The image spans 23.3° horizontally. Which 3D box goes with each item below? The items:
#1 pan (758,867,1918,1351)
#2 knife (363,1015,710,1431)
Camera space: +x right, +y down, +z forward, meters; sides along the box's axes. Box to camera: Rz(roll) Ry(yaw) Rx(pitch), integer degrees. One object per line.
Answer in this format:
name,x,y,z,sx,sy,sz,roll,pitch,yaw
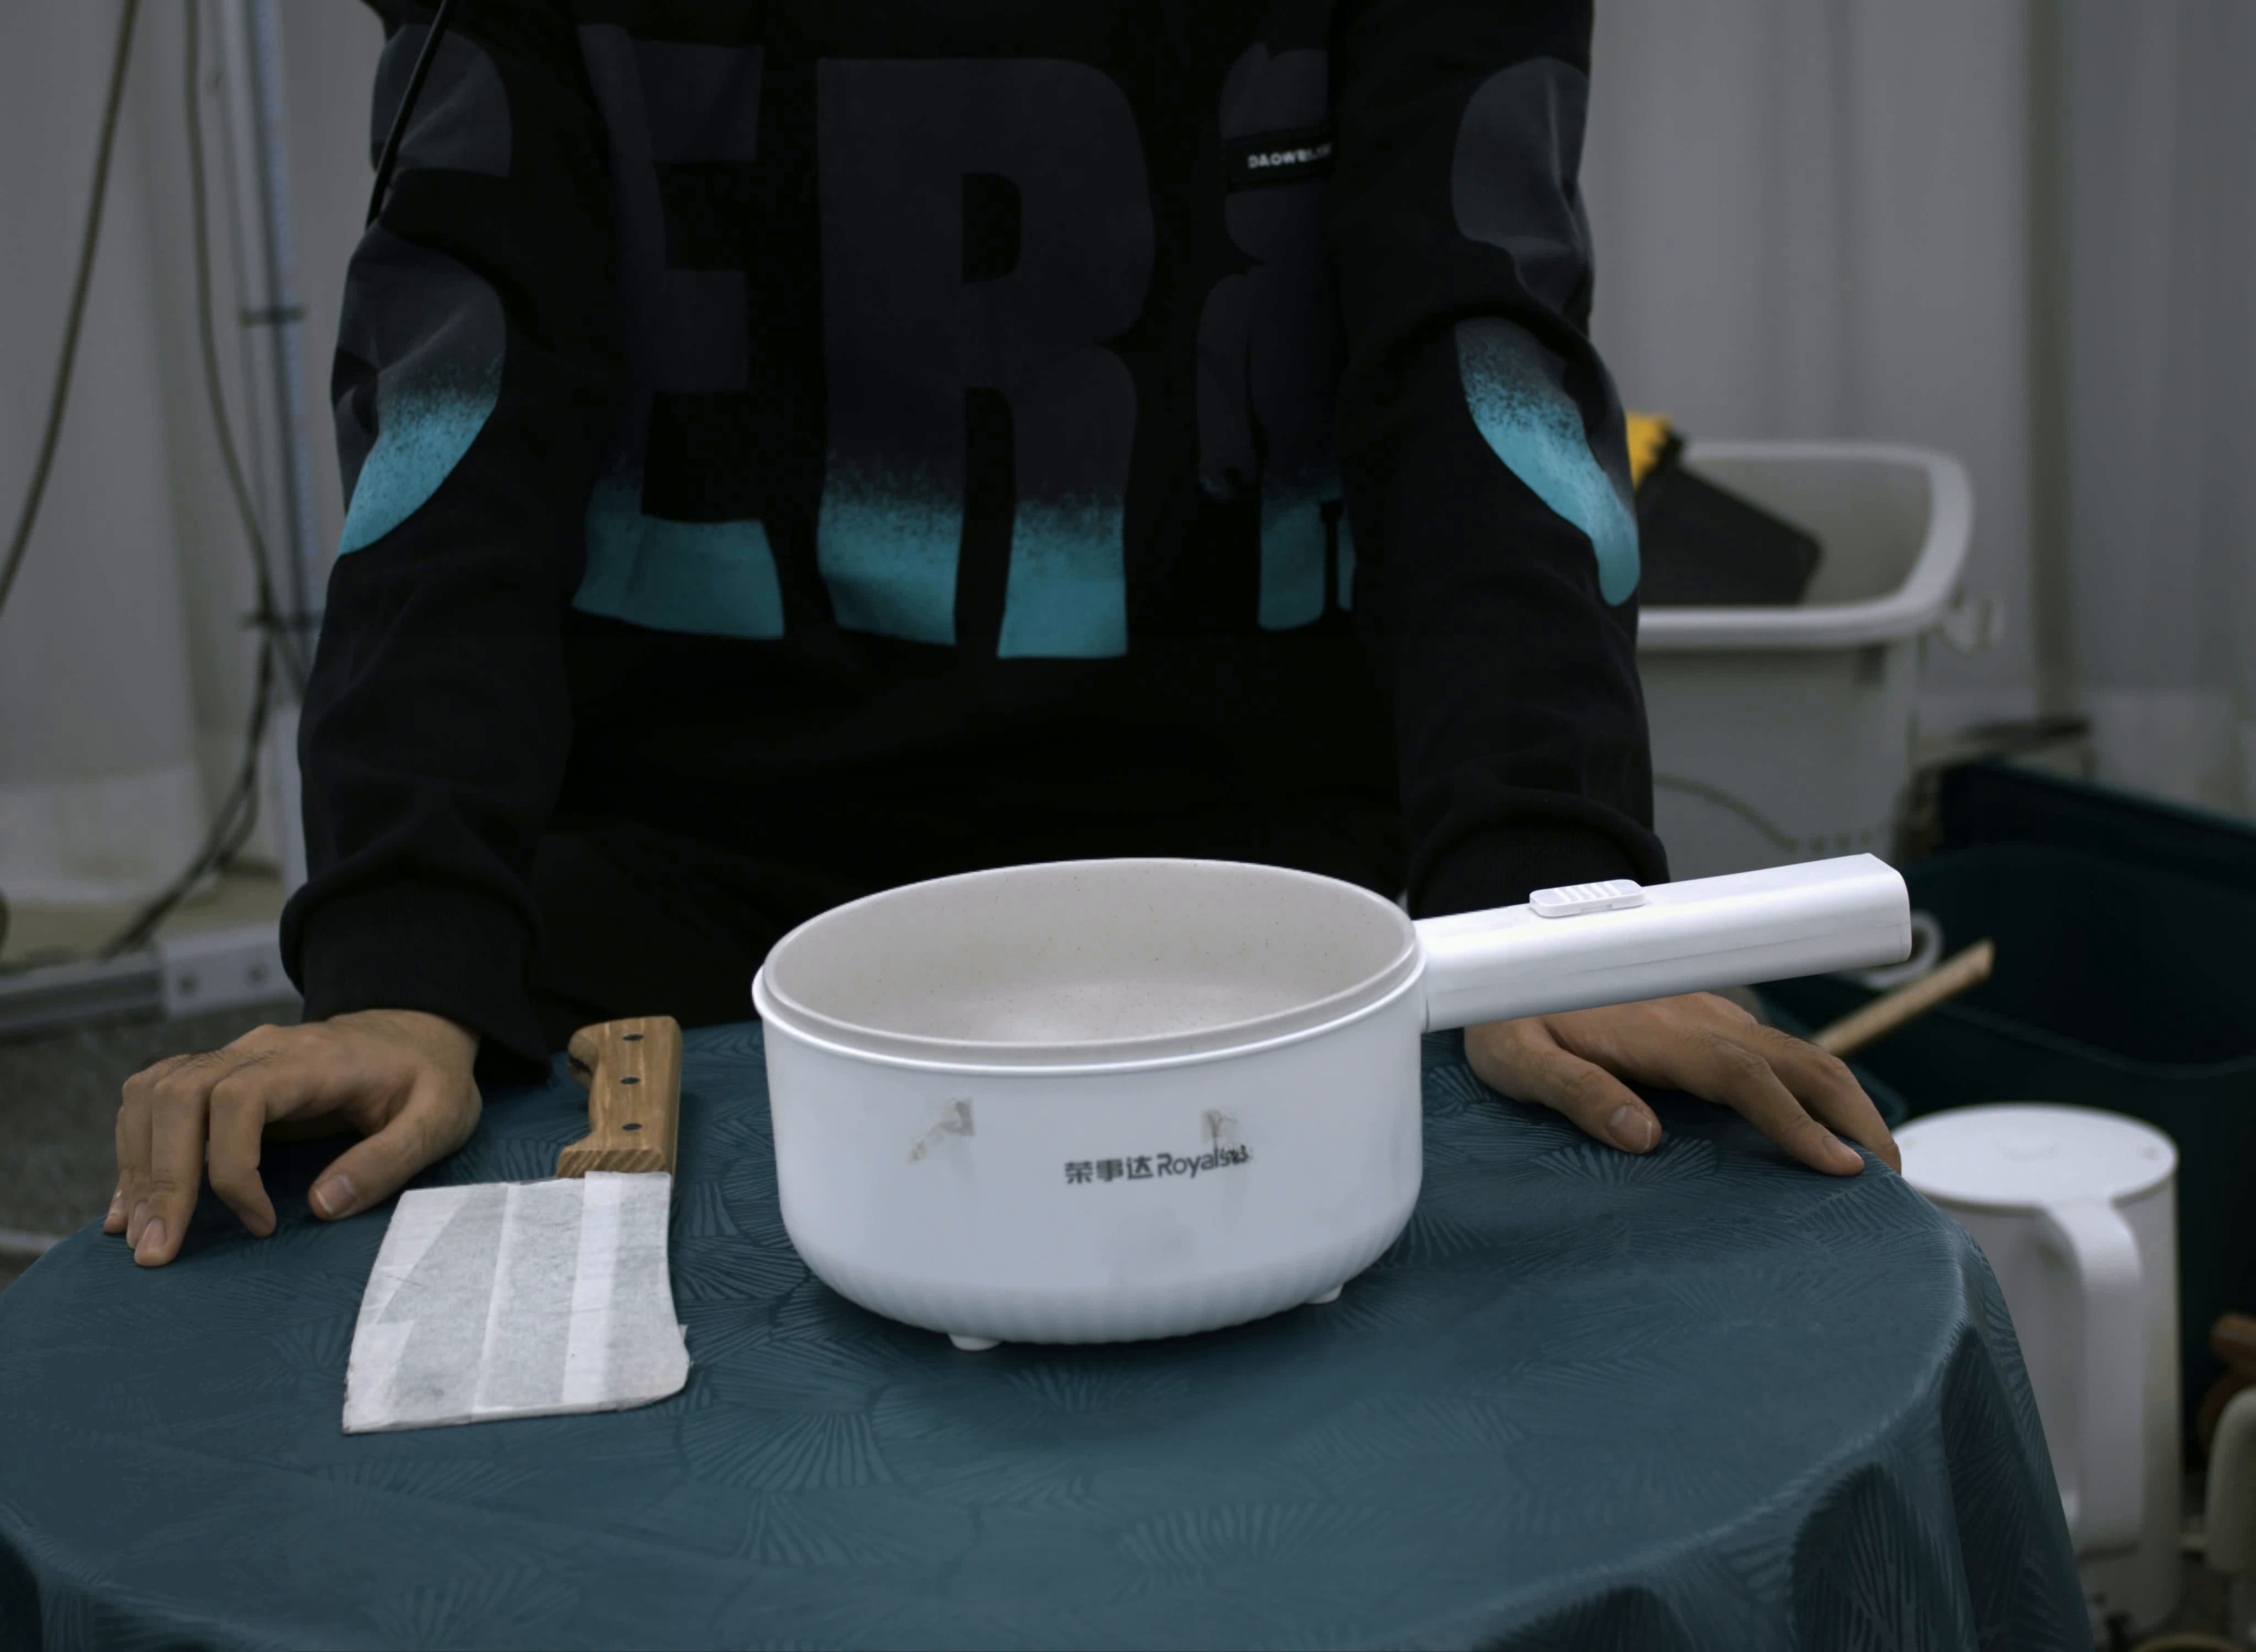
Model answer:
pan,0.066,0.078,1.653,0.353,0.102,0.202,-6,13,-13
knife,-0.175,0.121,1.692,0.113,0.021,0.318,-3,18,2
